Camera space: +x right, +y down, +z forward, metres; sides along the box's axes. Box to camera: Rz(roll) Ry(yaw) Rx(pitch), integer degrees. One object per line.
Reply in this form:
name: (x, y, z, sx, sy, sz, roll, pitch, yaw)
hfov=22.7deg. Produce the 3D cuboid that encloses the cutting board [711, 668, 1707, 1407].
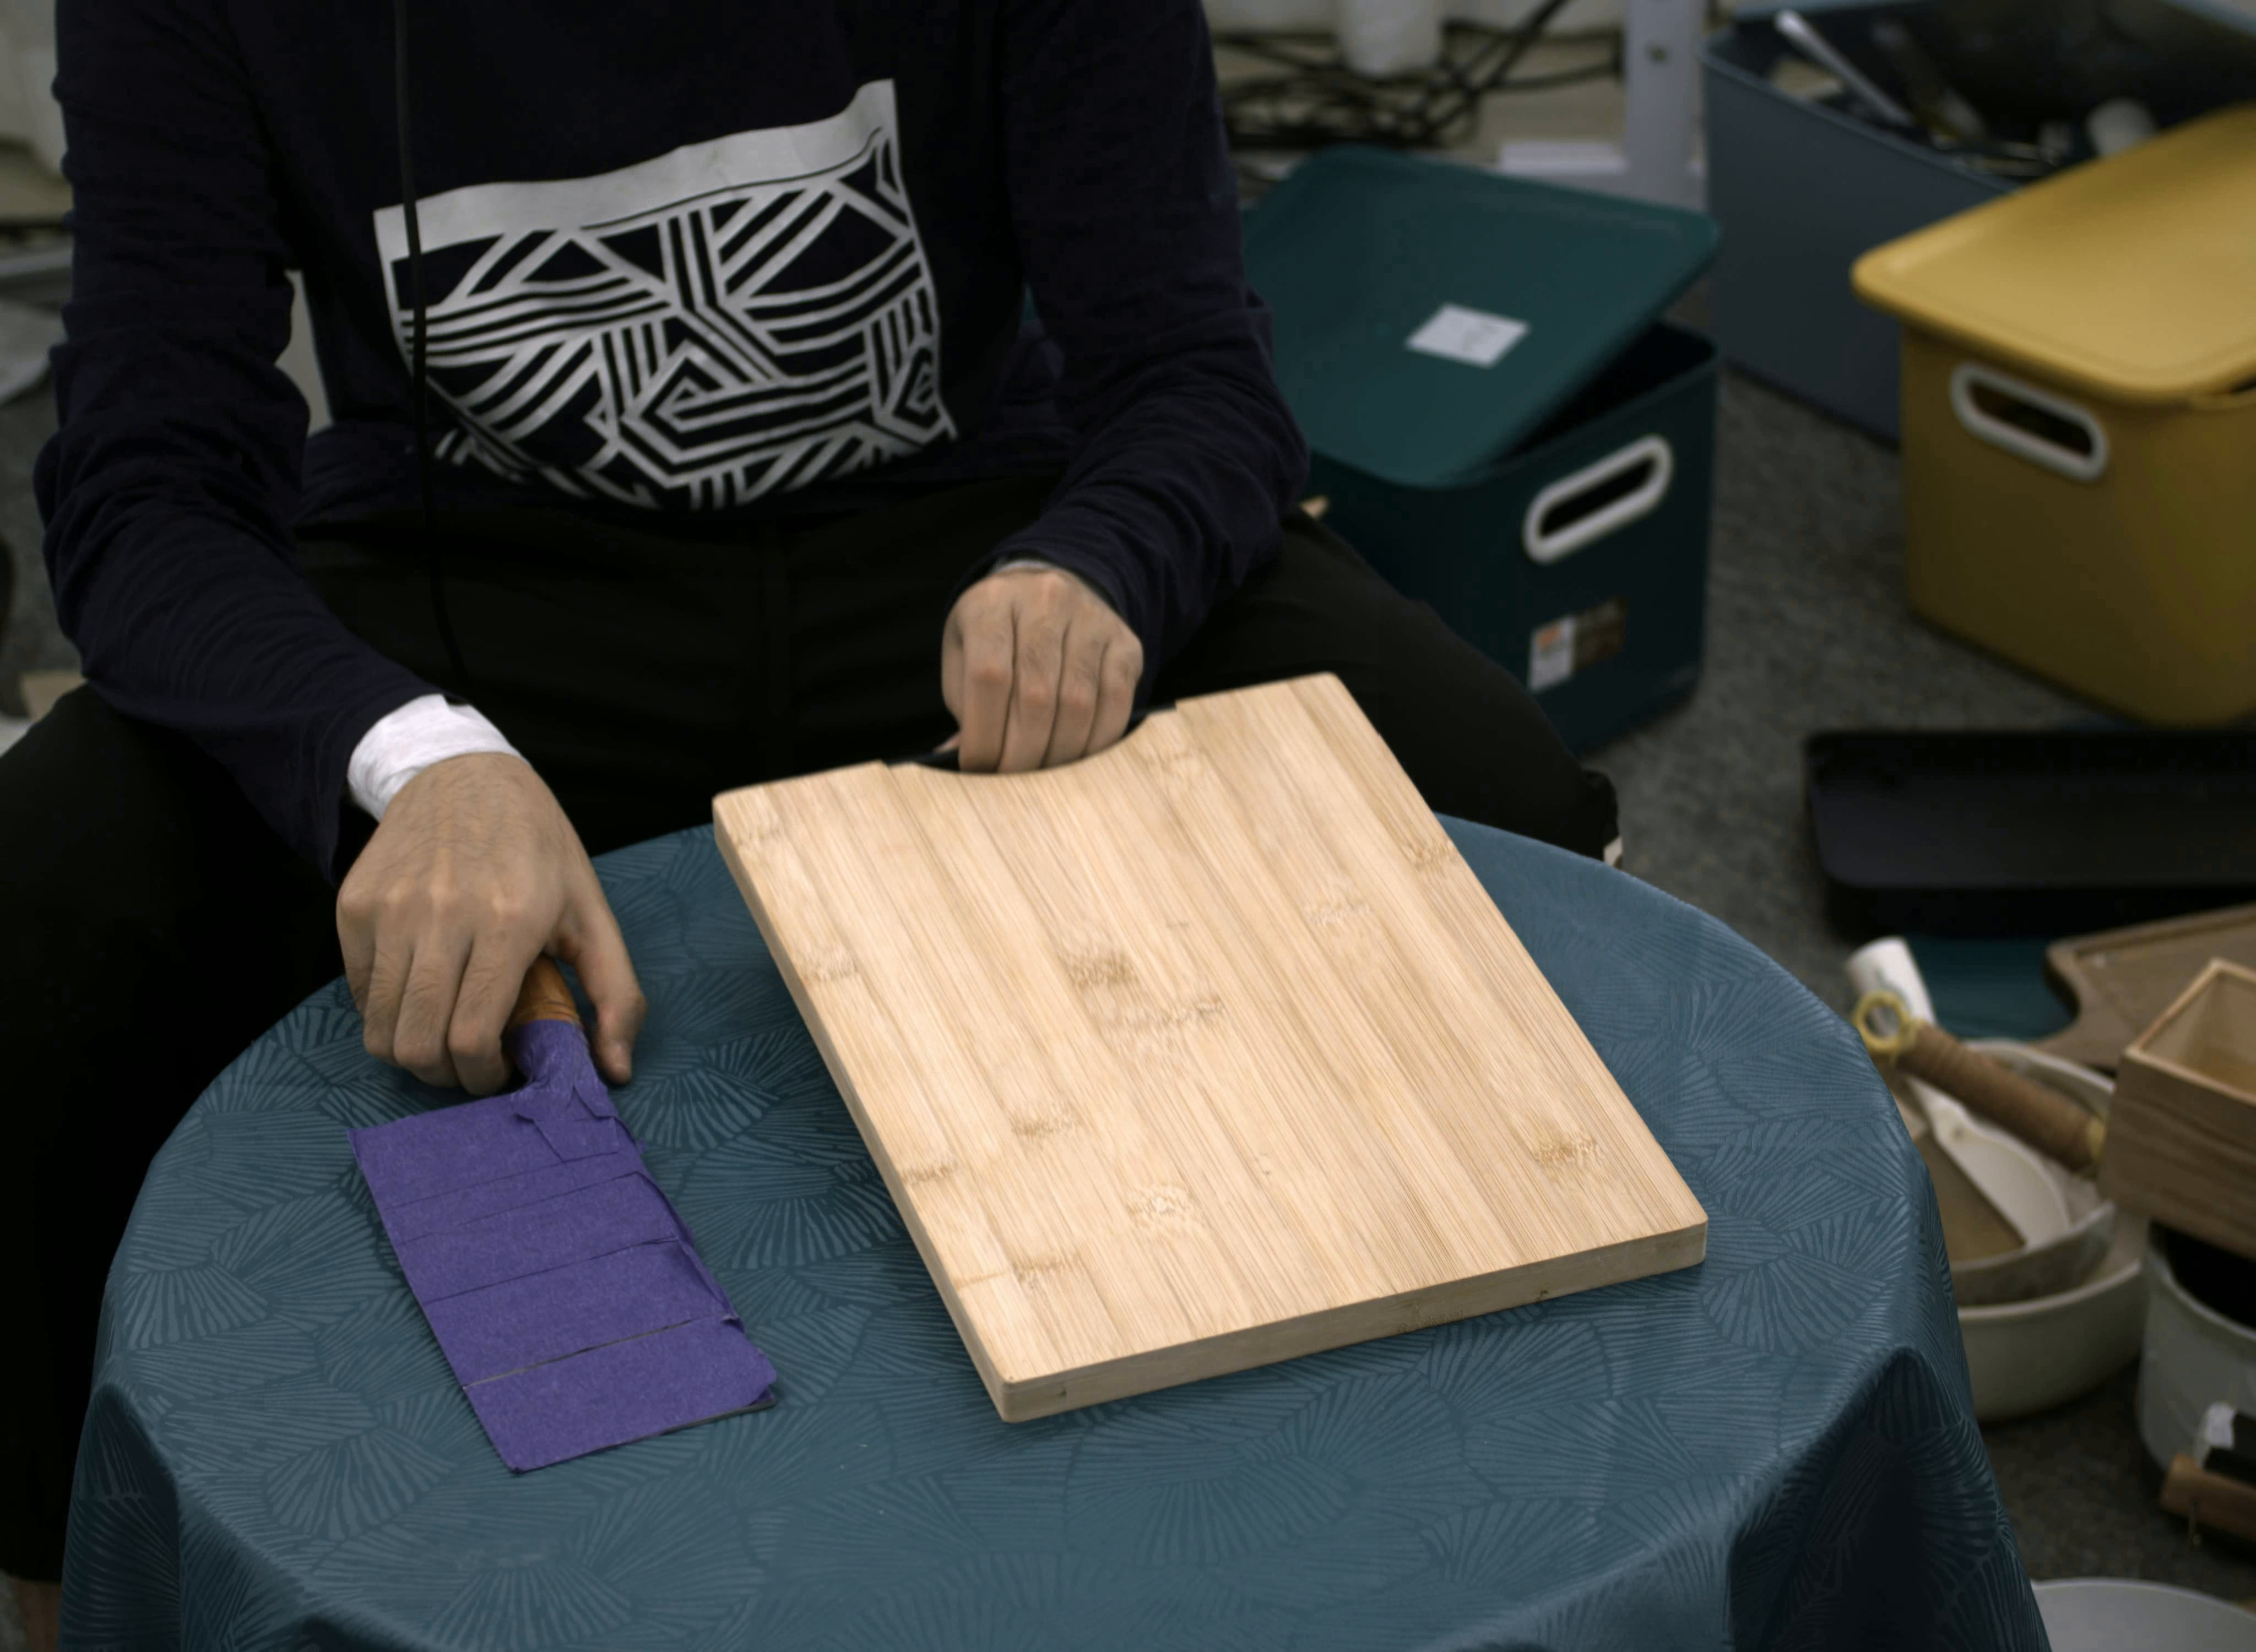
cutting board: (0.018, 0.064, 1.907, 0.251, 0.023, 0.352, -11, 35, -16)

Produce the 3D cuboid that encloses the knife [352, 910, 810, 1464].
knife: (-0.203, 0.115, 1.864, 0.104, 0.032, 0.318, -12, 29, -18)
